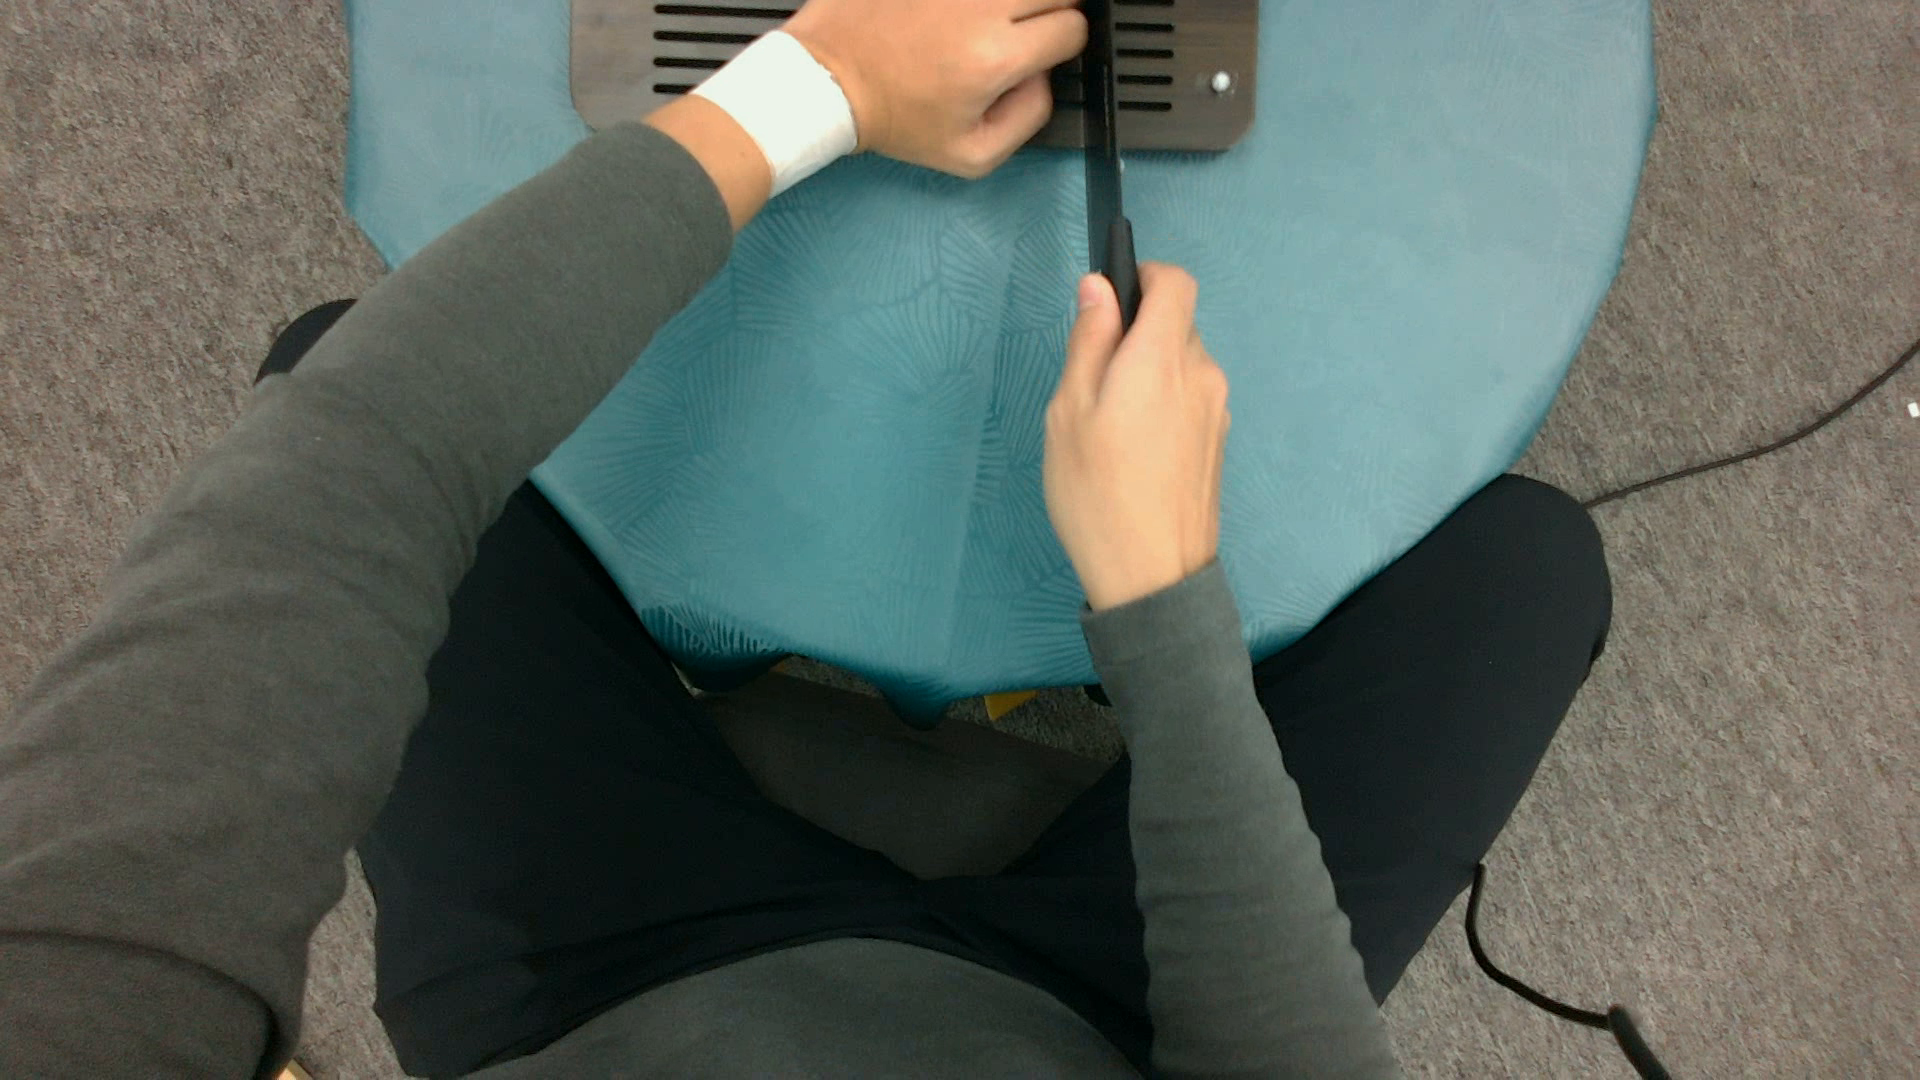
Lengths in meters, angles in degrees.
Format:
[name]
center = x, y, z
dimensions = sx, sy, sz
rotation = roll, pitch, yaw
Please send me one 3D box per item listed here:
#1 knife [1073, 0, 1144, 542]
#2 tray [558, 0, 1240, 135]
[knife]
center = 0.057, -0.150, 0.576
dimensions = 0.021, 0.081, 0.302
rotation = -2, 85, -7
[tray]
center = -0.025, -0.272, 0.622
dimensions = 0.306, 0.018, 0.170
rotation = 1, 92, -3
